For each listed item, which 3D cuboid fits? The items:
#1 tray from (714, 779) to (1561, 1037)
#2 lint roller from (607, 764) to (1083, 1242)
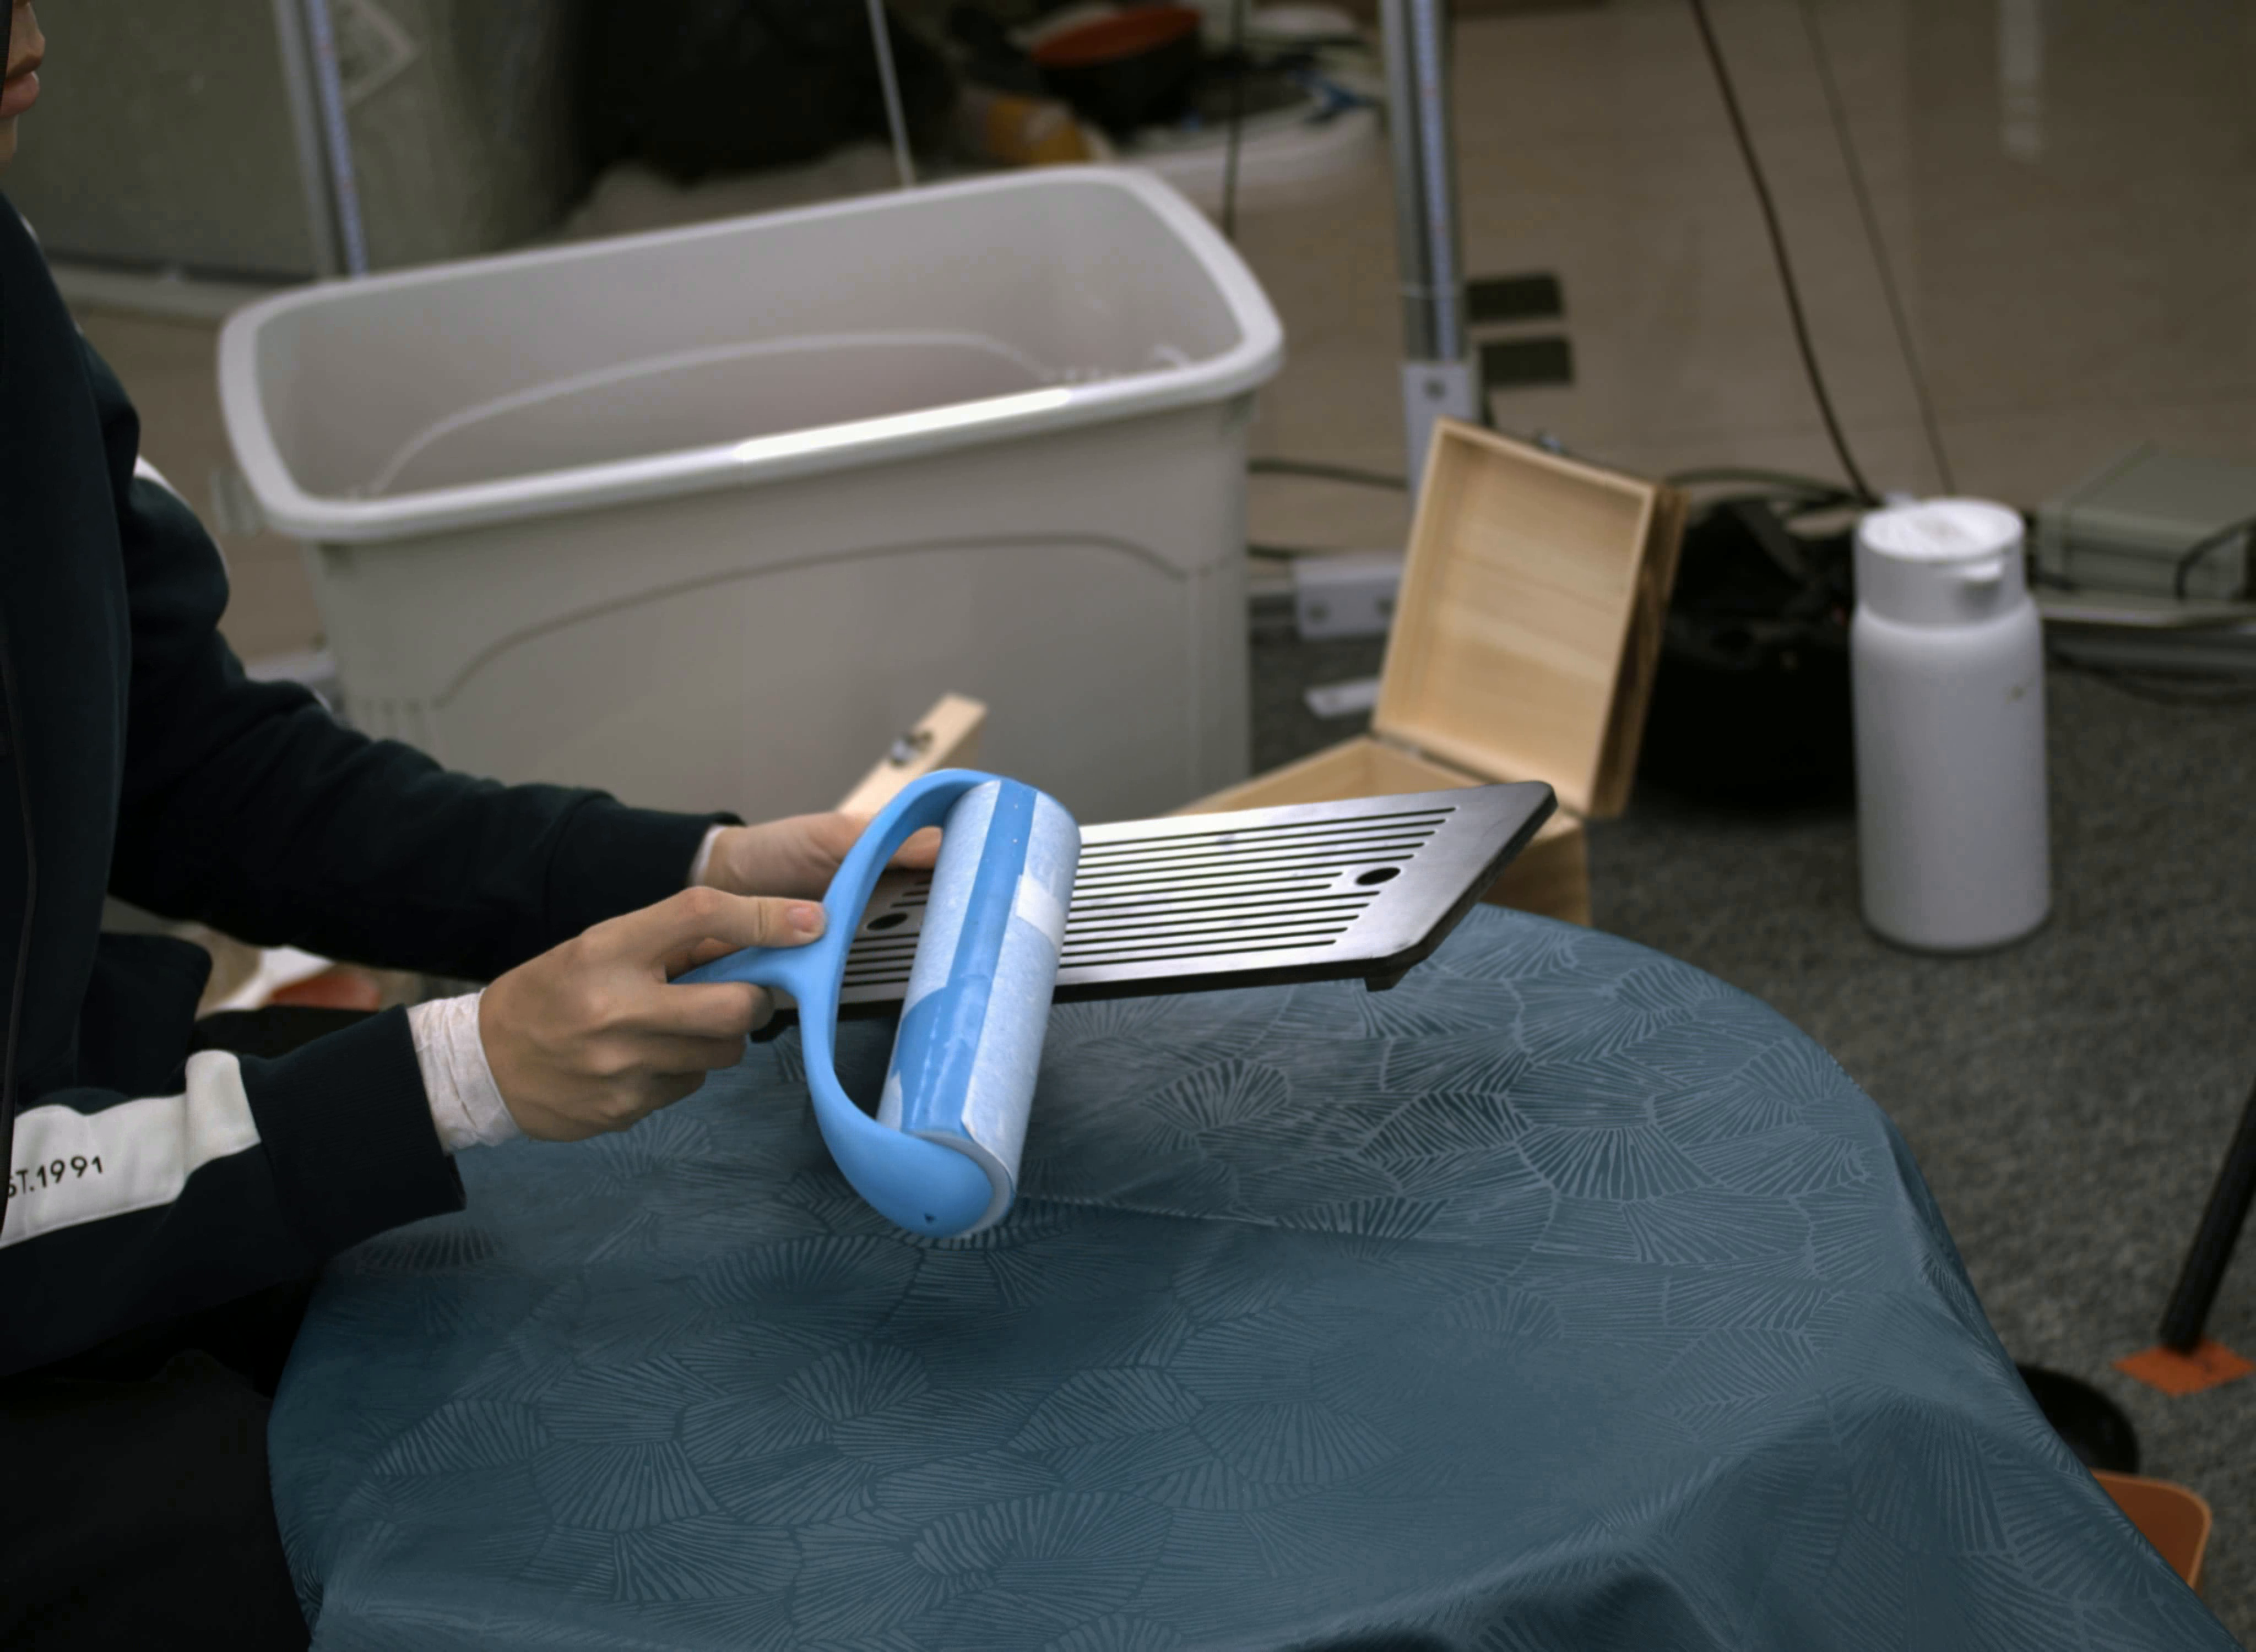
[{"bbox_3d":[0.004,0.033,2.185,0.306,0.019,0.168,-6,20,27],"label":"tray"},{"bbox_3d":[-0.112,0.069,2.083,0.180,0.069,0.225,-6,43,10],"label":"lint roller"}]
